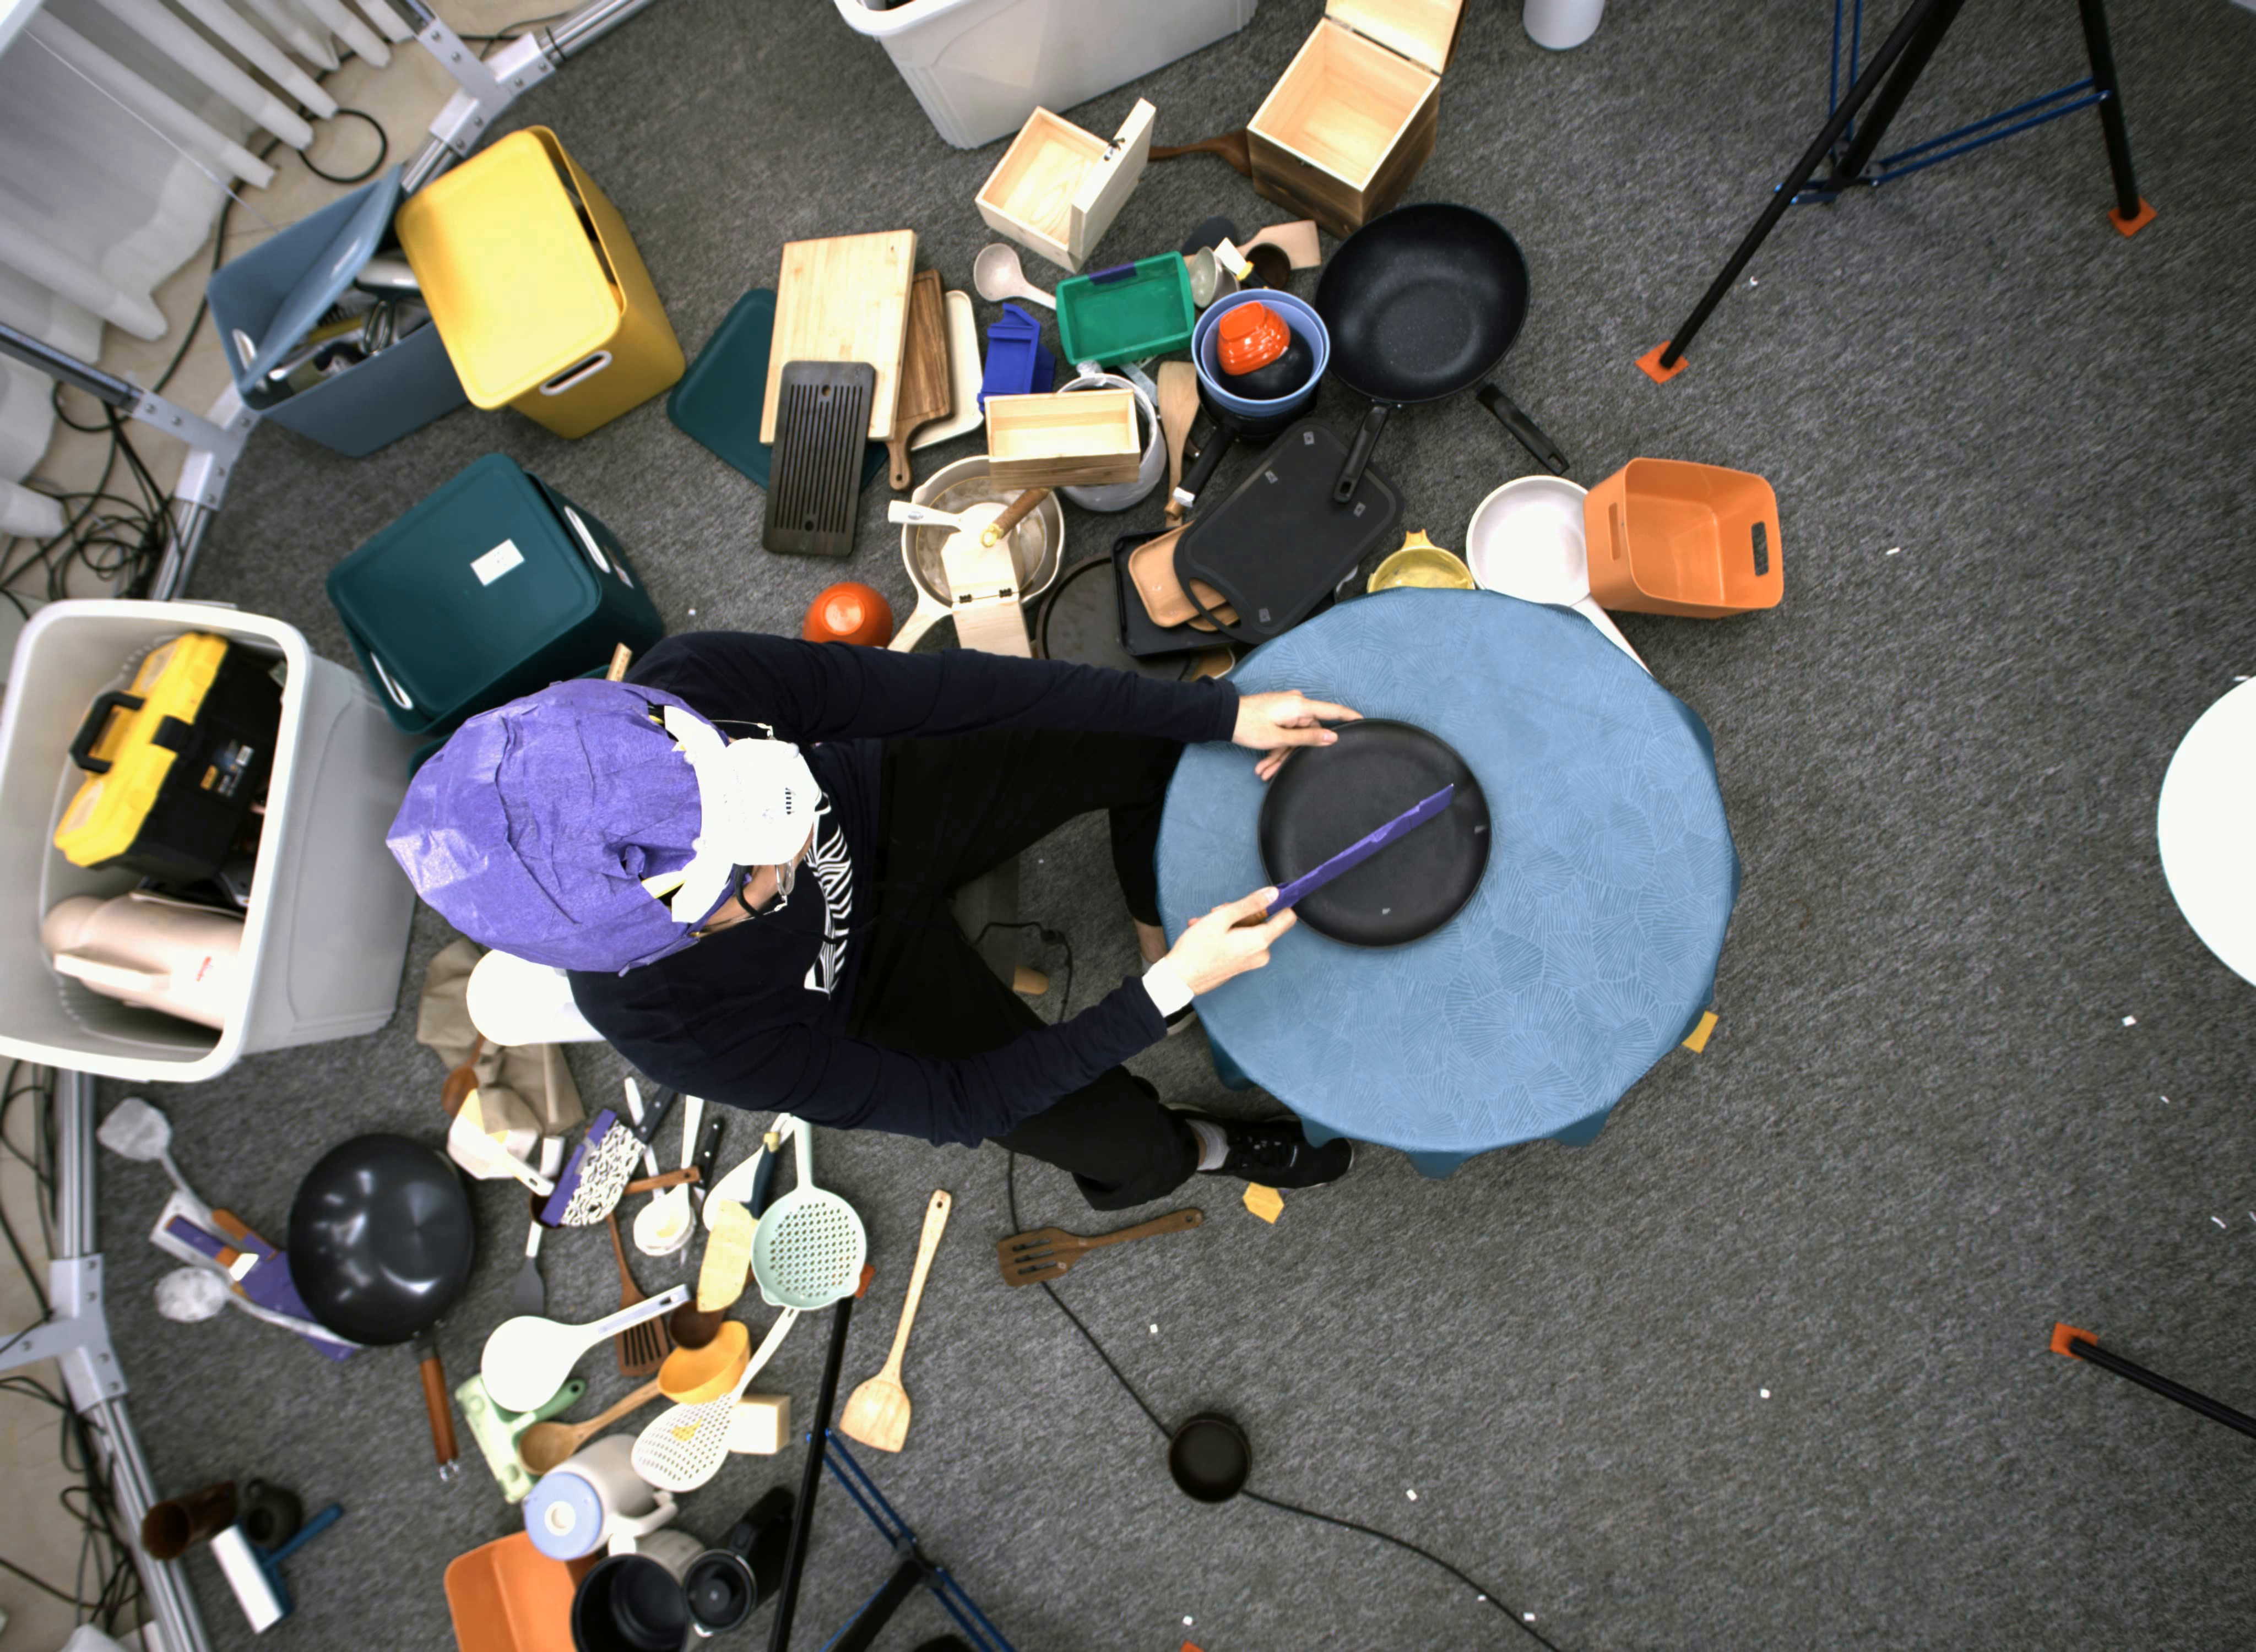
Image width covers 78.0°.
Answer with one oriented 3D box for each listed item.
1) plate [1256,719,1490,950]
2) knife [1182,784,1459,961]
[{"bbox_3d":[0.257,0.007,1.453,0.245,0.023,0.243,-1,87,10],"label":"plate"},{"bbox_3d":[0.202,0.051,1.407,0.317,0.104,0.032,-31,73,7],"label":"knife"}]
